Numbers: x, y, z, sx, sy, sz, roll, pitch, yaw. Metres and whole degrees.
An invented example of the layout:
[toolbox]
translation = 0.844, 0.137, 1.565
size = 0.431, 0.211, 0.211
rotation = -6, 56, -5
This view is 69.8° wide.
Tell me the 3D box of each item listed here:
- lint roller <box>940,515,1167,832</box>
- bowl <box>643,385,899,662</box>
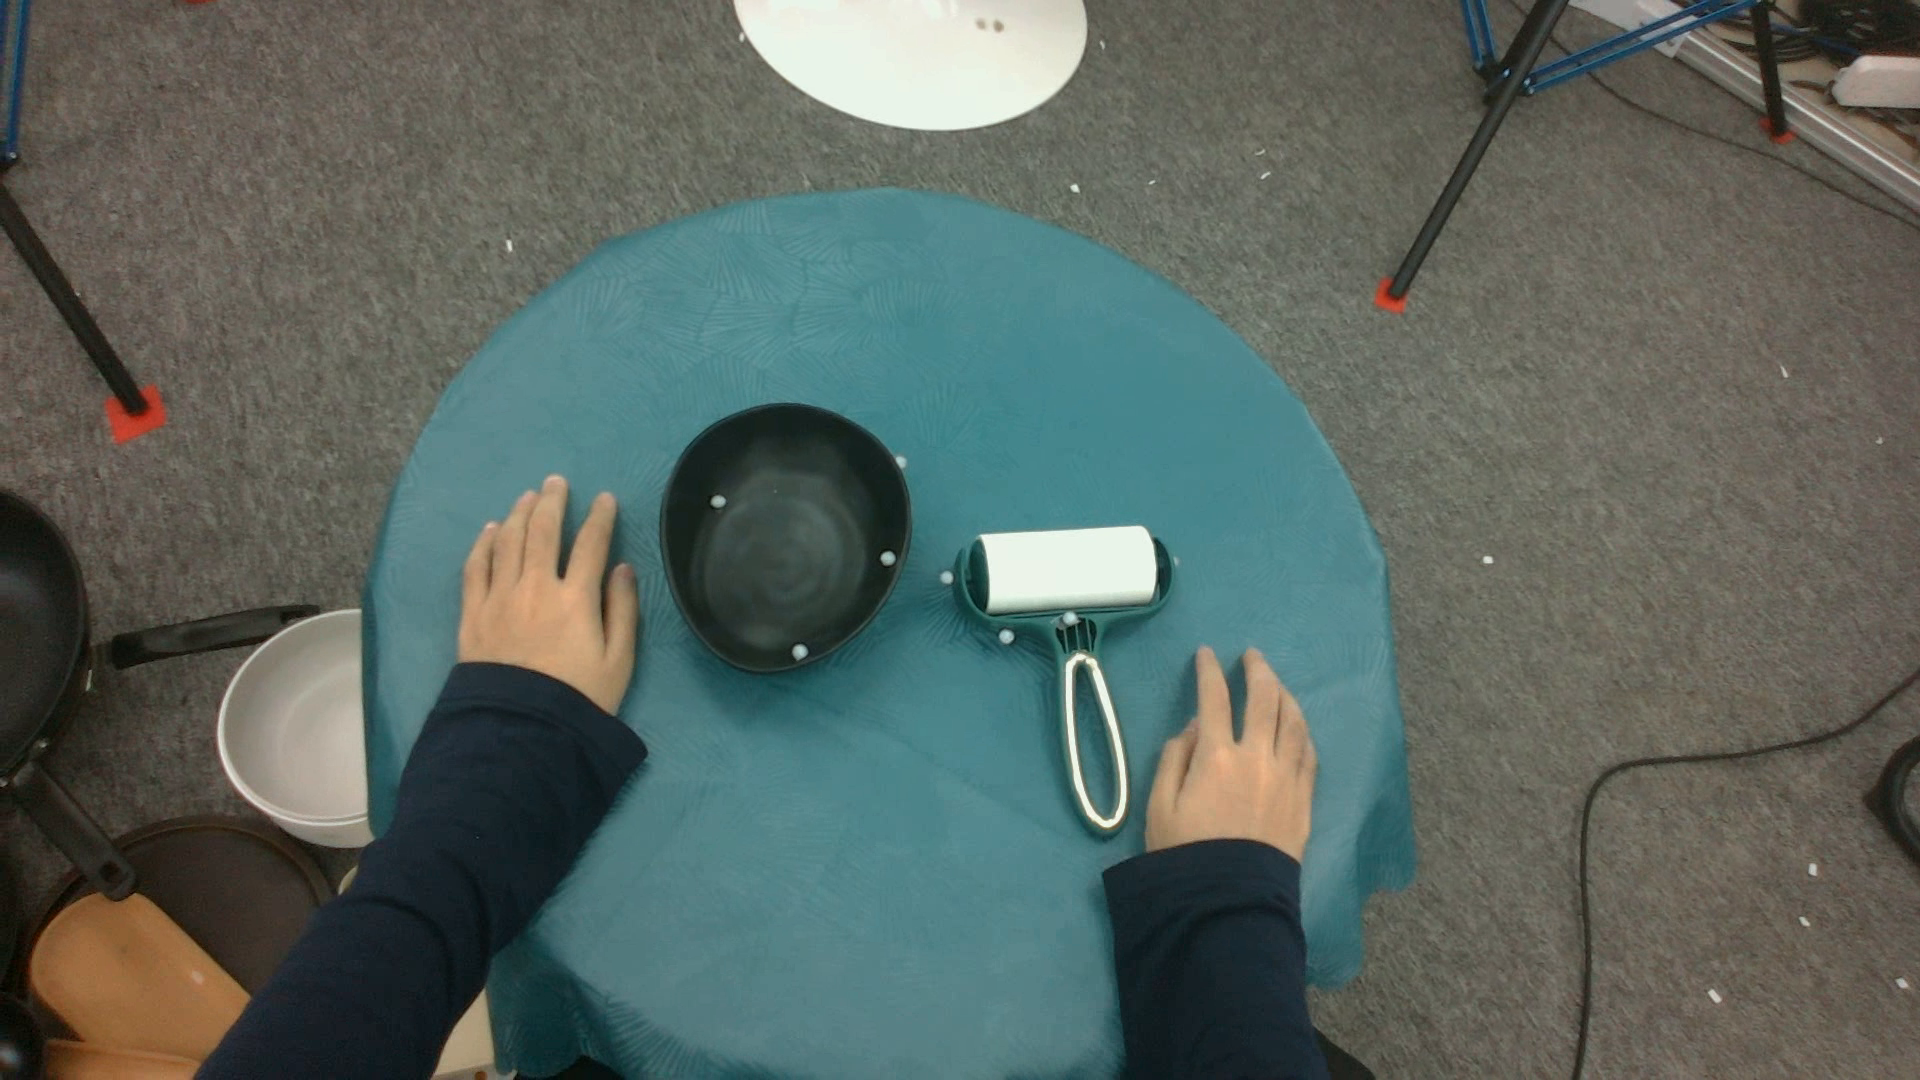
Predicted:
[lint roller]
translation = 0.062, 0.071, 0.779
size = 0.134, 0.048, 0.180
rotation = -2, 66, -12
[bowl]
translation = -0.106, -0.003, 0.773
size = 0.137, 0.066, 0.171
rotation = 10, 60, -5
